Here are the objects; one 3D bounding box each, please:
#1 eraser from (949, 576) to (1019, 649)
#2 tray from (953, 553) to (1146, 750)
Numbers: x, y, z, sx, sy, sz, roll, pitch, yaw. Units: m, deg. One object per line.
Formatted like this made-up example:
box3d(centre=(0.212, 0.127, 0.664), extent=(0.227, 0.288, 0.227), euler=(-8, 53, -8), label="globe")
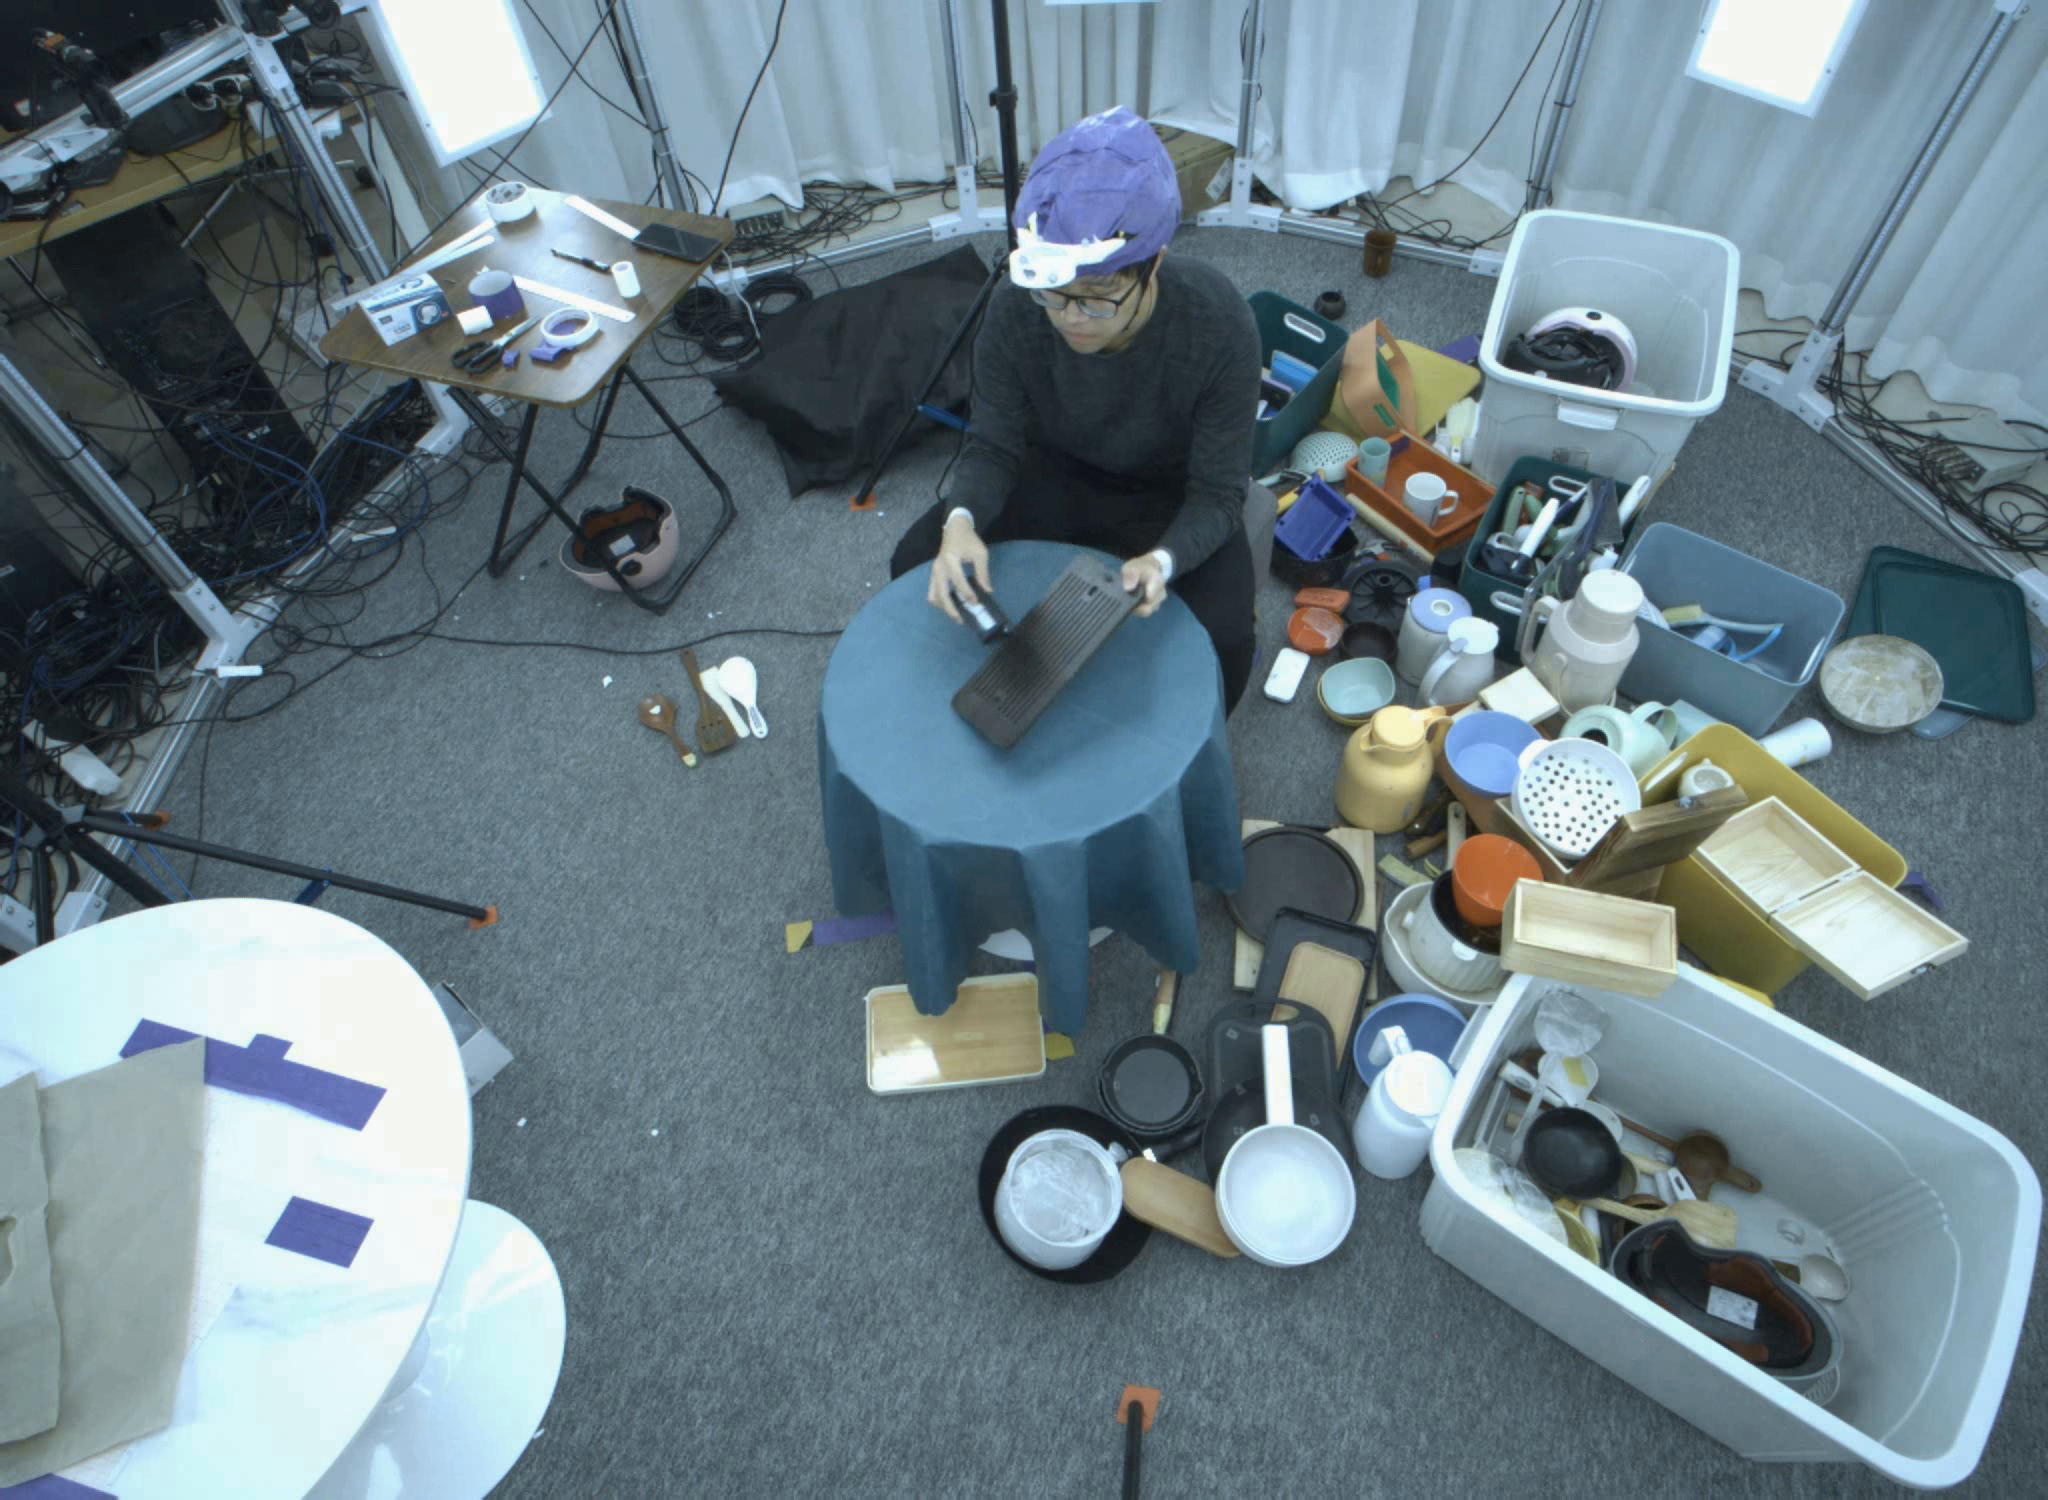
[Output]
box3d(centre=(-0.060, -0.203, 1.809), extent=(0.053, 0.031, 0.123), euler=(-40, 52, 3), label="eraser")
box3d(centre=(0.035, -0.145, 1.783), extent=(0.306, 0.019, 0.166), euler=(-49, 43, -2), label="tray")
